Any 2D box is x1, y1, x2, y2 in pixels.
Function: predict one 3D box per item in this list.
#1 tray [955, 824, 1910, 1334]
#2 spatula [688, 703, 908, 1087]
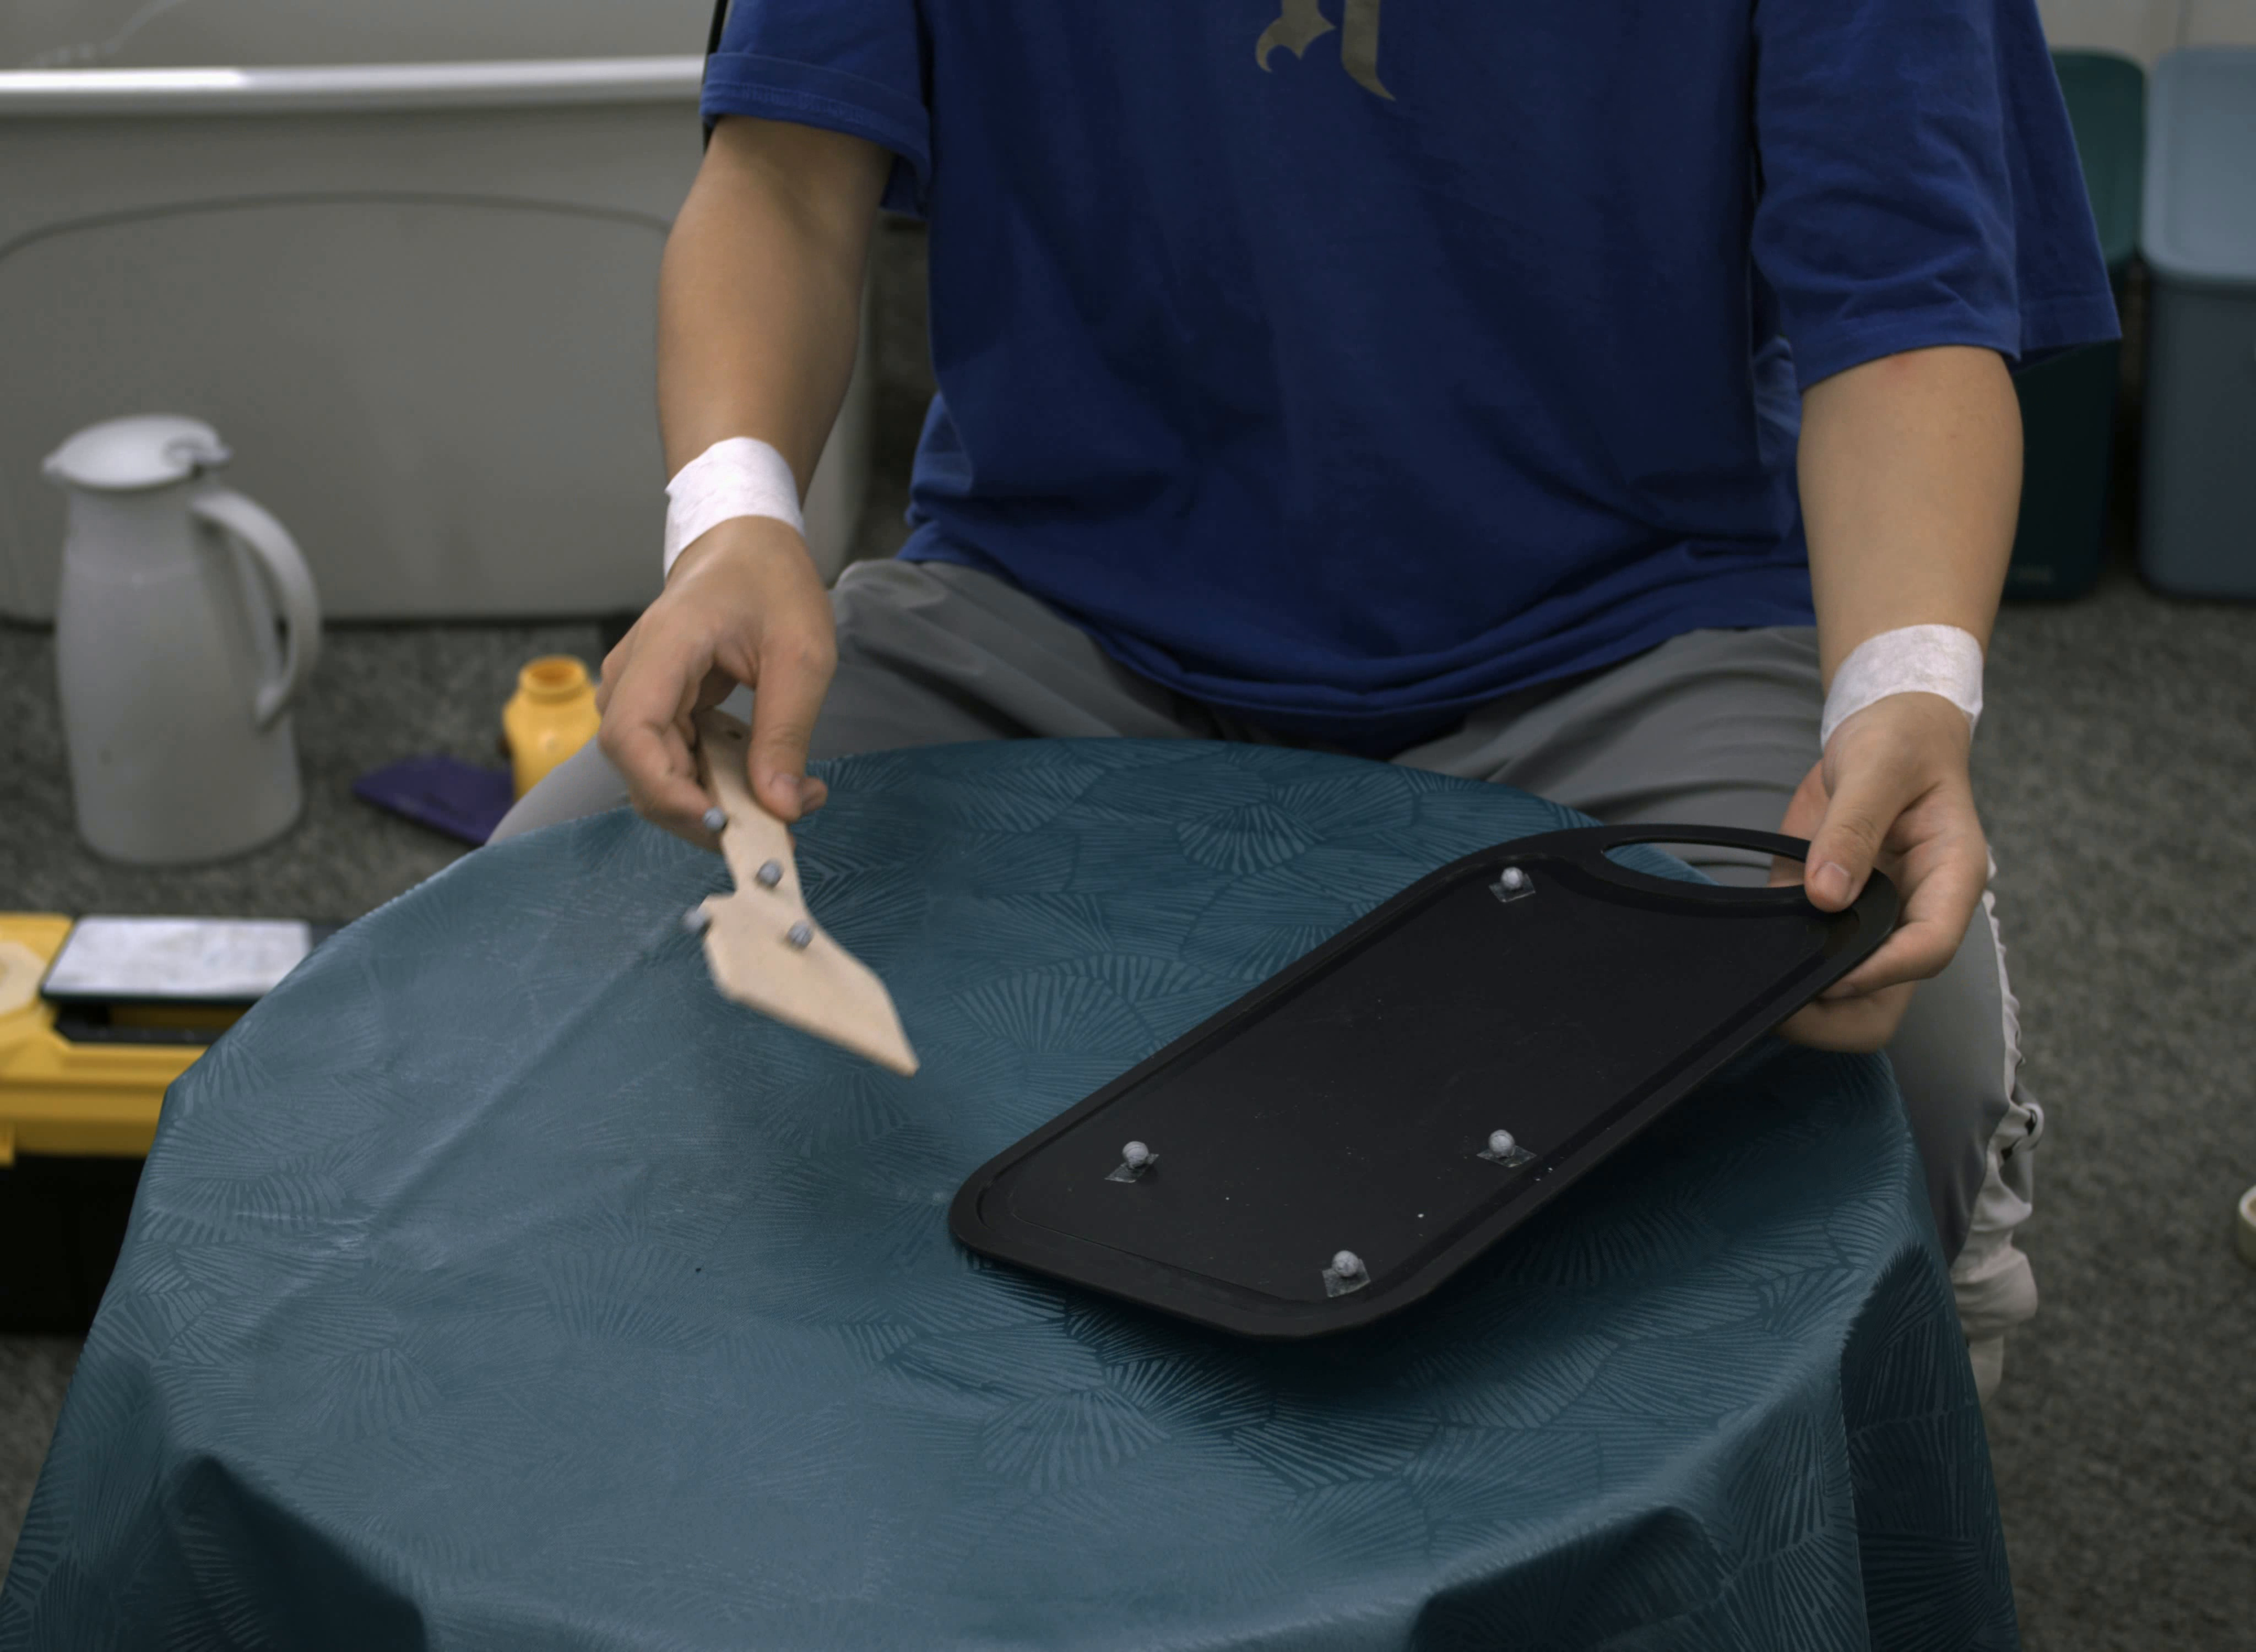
[{"bbox_3d":[0.107,0.074,1.870,0.329,0.010,0.210,-32,28,-34],"label":"tray"},{"bbox_3d":[-0.127,0.016,1.946,0.072,0.010,0.296,24,17,-19],"label":"spatula"}]
